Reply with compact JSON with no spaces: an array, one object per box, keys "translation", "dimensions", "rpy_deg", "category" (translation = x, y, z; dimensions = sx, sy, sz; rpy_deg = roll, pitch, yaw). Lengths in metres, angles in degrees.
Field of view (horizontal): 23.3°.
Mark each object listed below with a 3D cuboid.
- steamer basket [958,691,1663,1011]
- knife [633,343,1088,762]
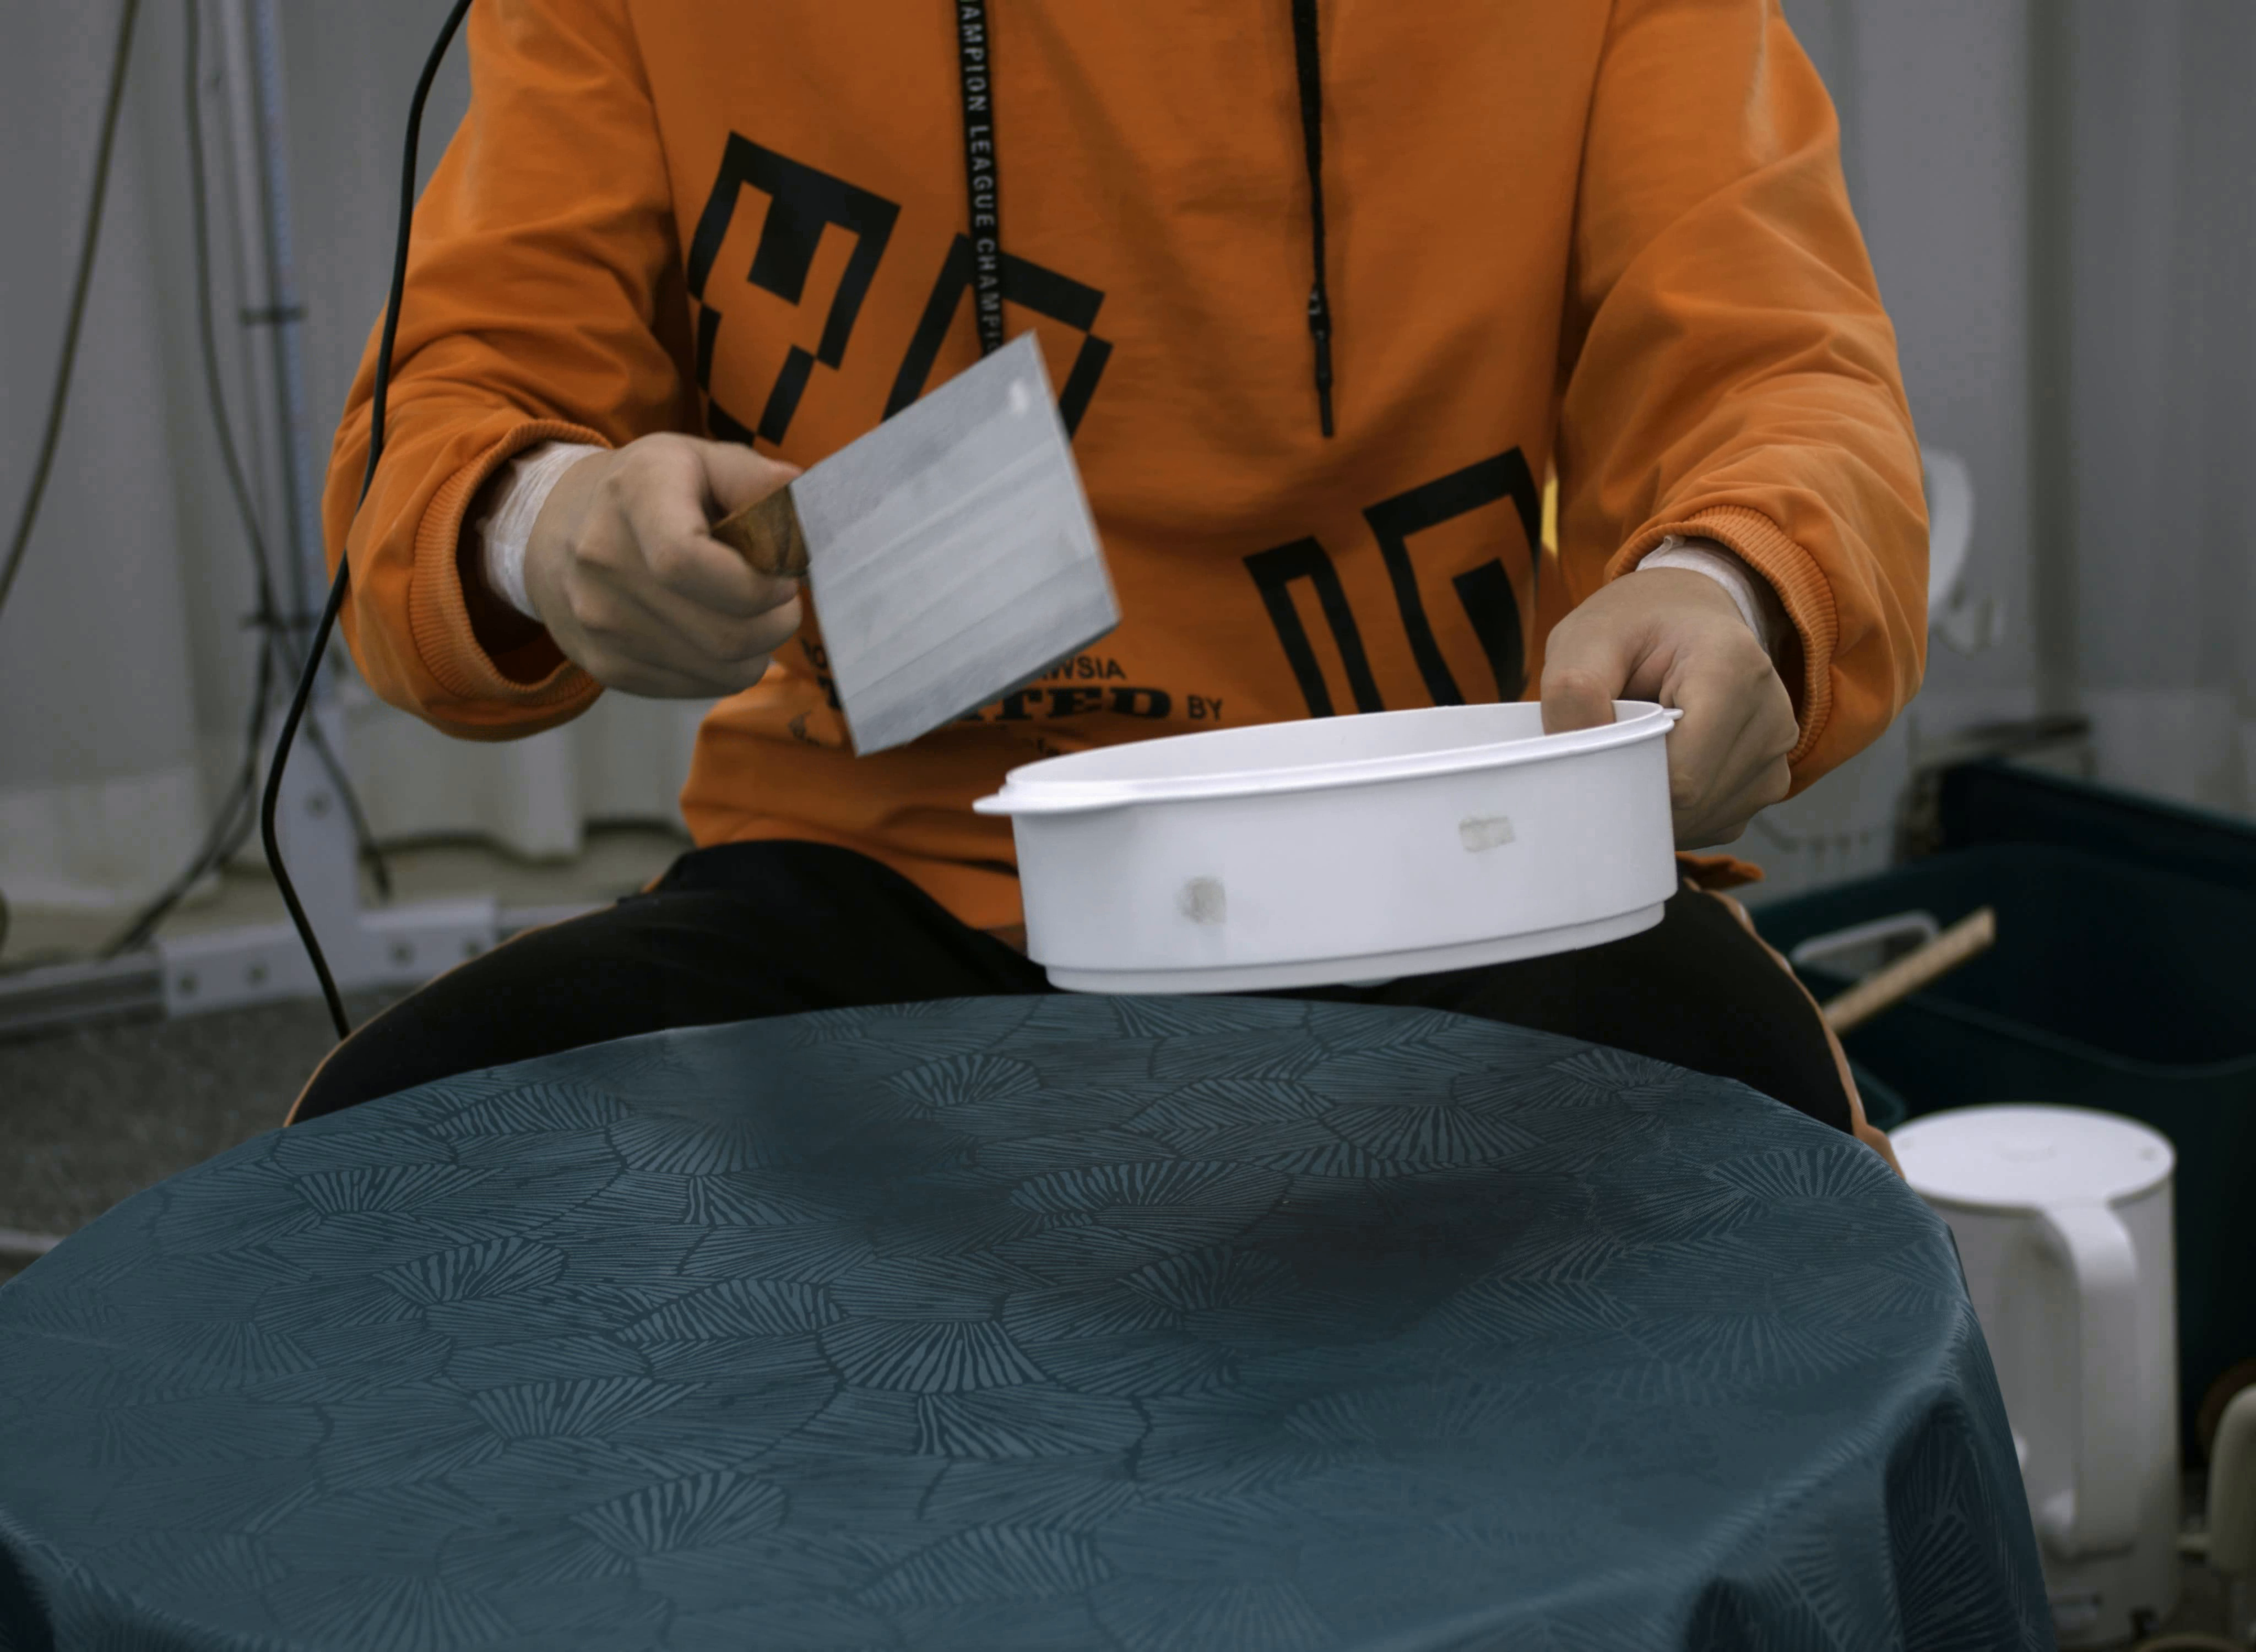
[{"translation":[0.059,0.008,1.619],"dimensions":[0.230,0.069,0.202],"rpy_deg":[-12,7,-32],"category":"steamer basket"},{"translation":[-0.083,-0.070,1.690],"dimensions":[0.021,0.093,0.305],"rpy_deg":[-15,-4,-28],"category":"knife"}]
